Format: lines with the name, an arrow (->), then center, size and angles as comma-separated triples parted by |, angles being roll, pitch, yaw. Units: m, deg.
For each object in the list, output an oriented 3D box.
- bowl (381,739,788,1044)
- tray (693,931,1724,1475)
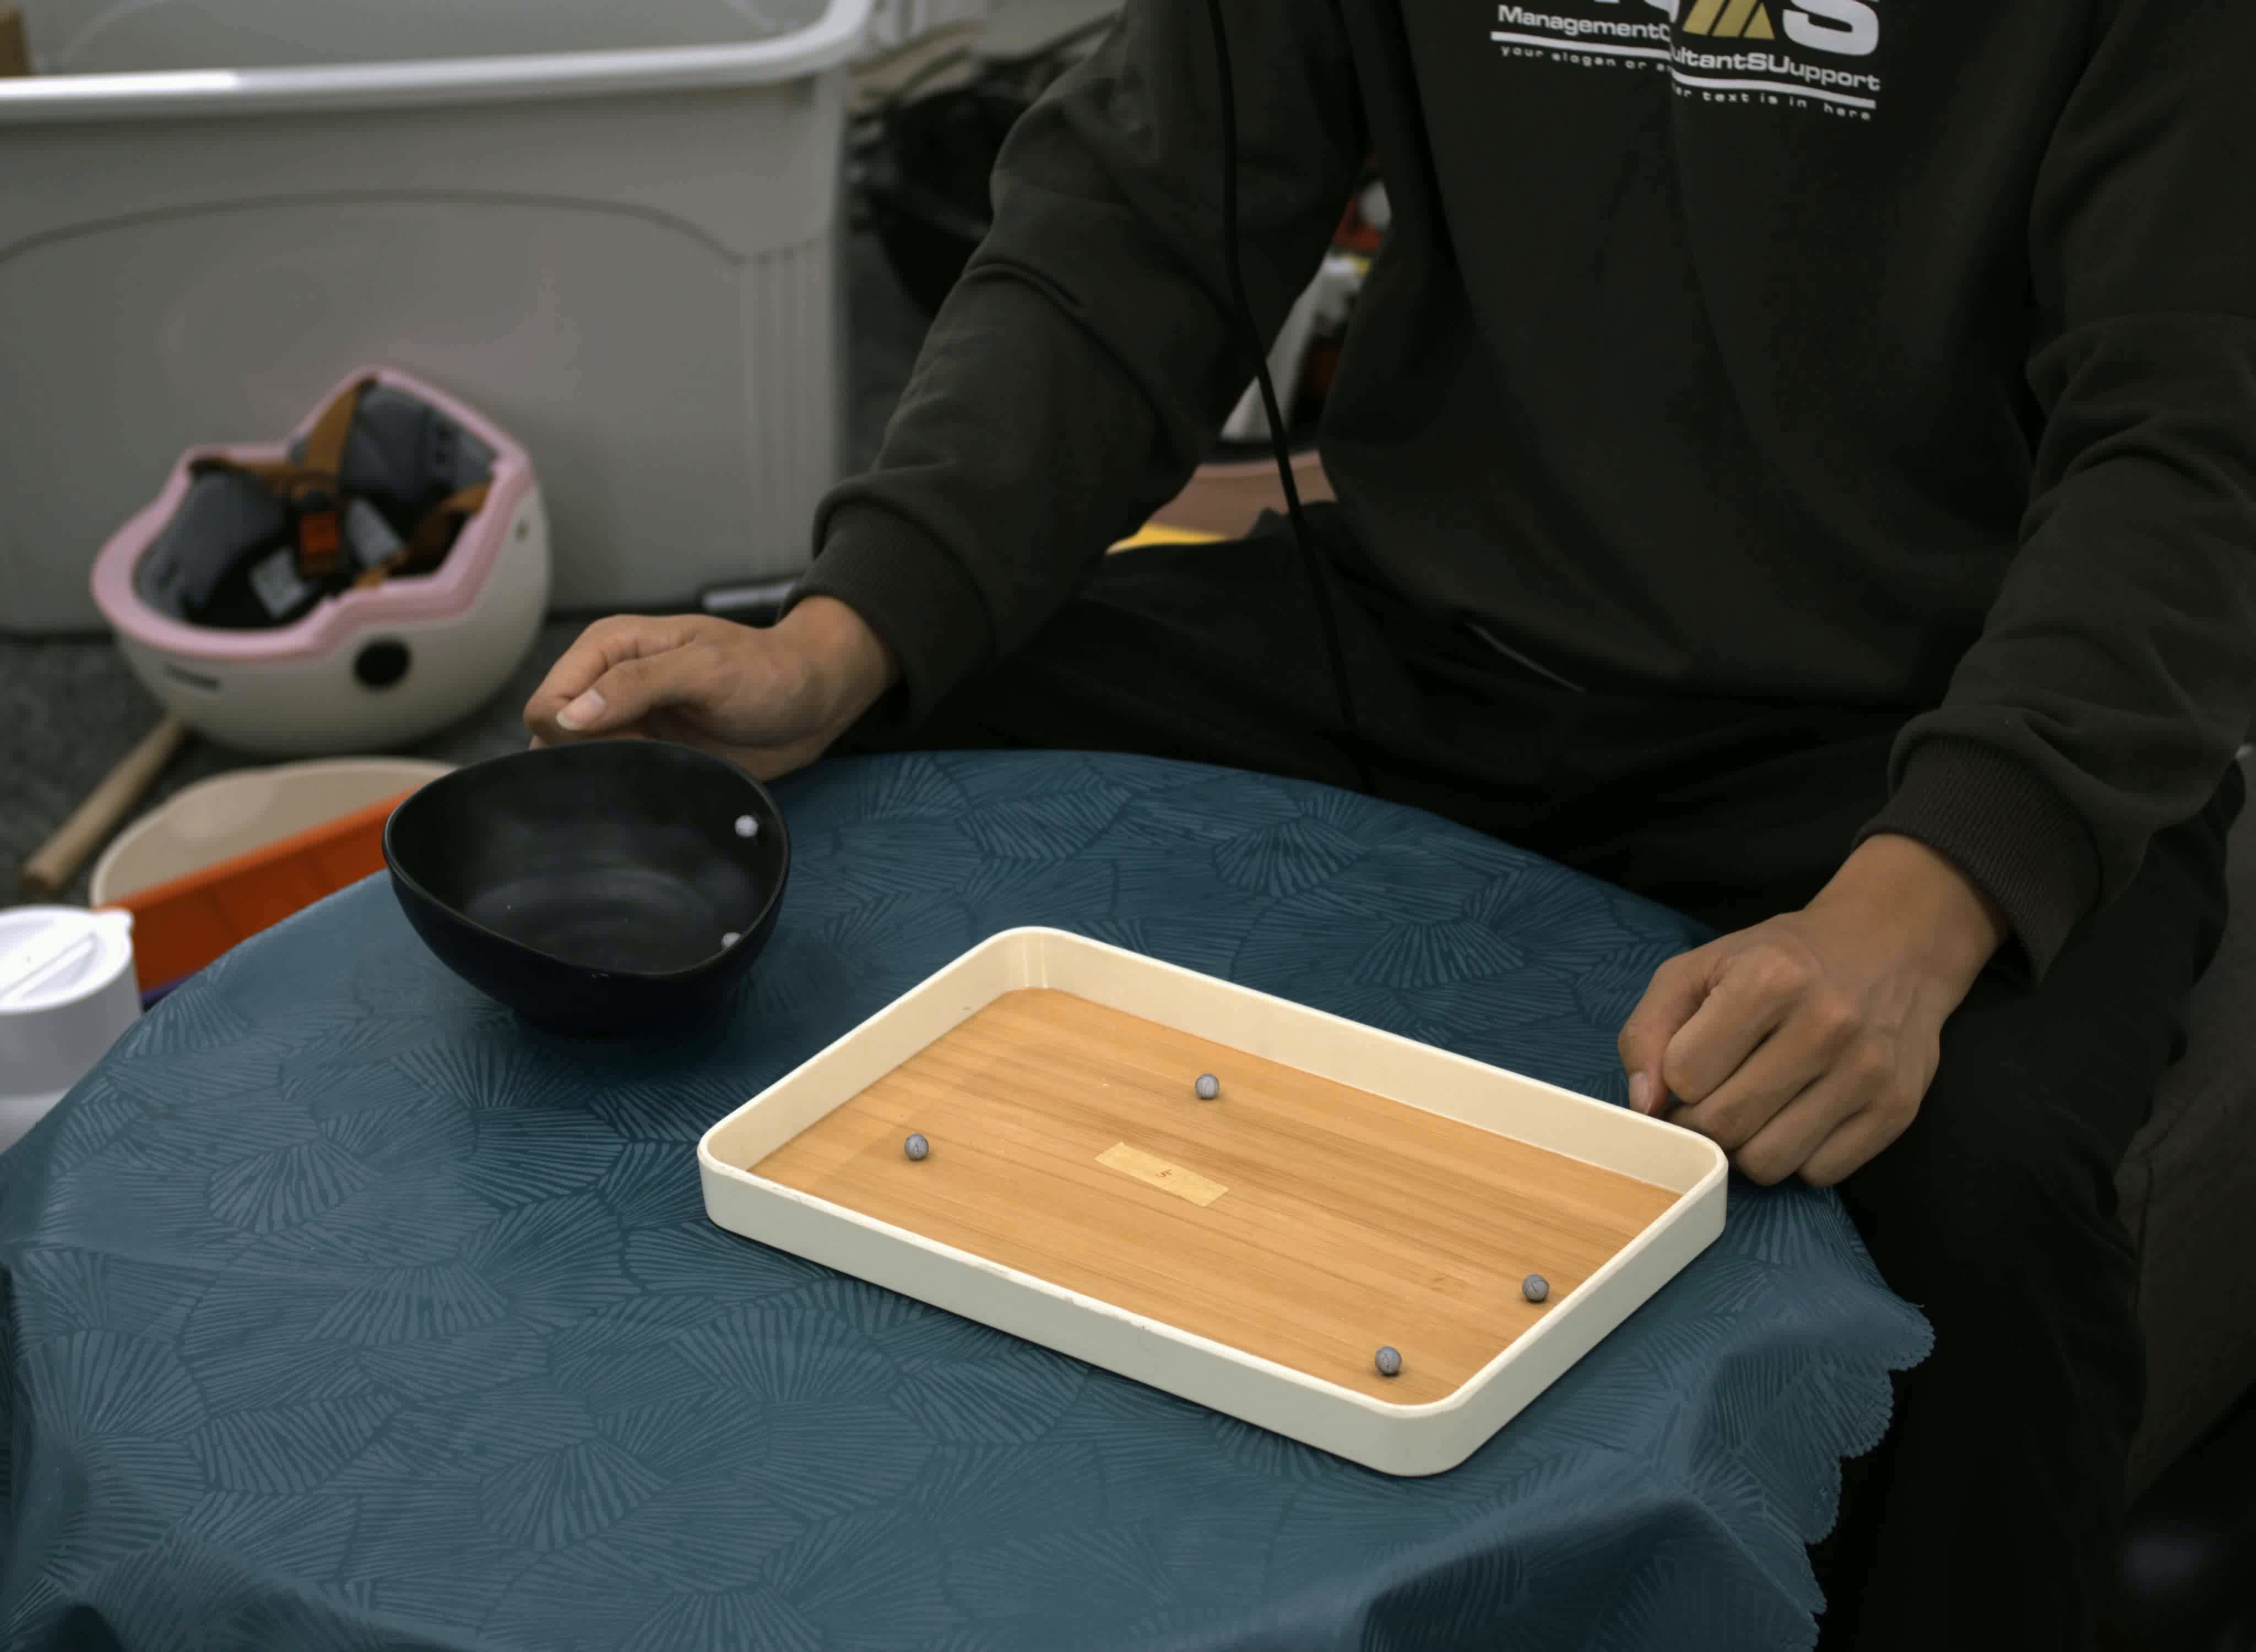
bowl -> -0.188, 0.031, 1.988 | 0.138, 0.066, 0.171 | -19, 33, -27
tray -> 0.025, 0.118, 1.841 | 0.299, 0.027, 0.194 | 16, 32, 33
